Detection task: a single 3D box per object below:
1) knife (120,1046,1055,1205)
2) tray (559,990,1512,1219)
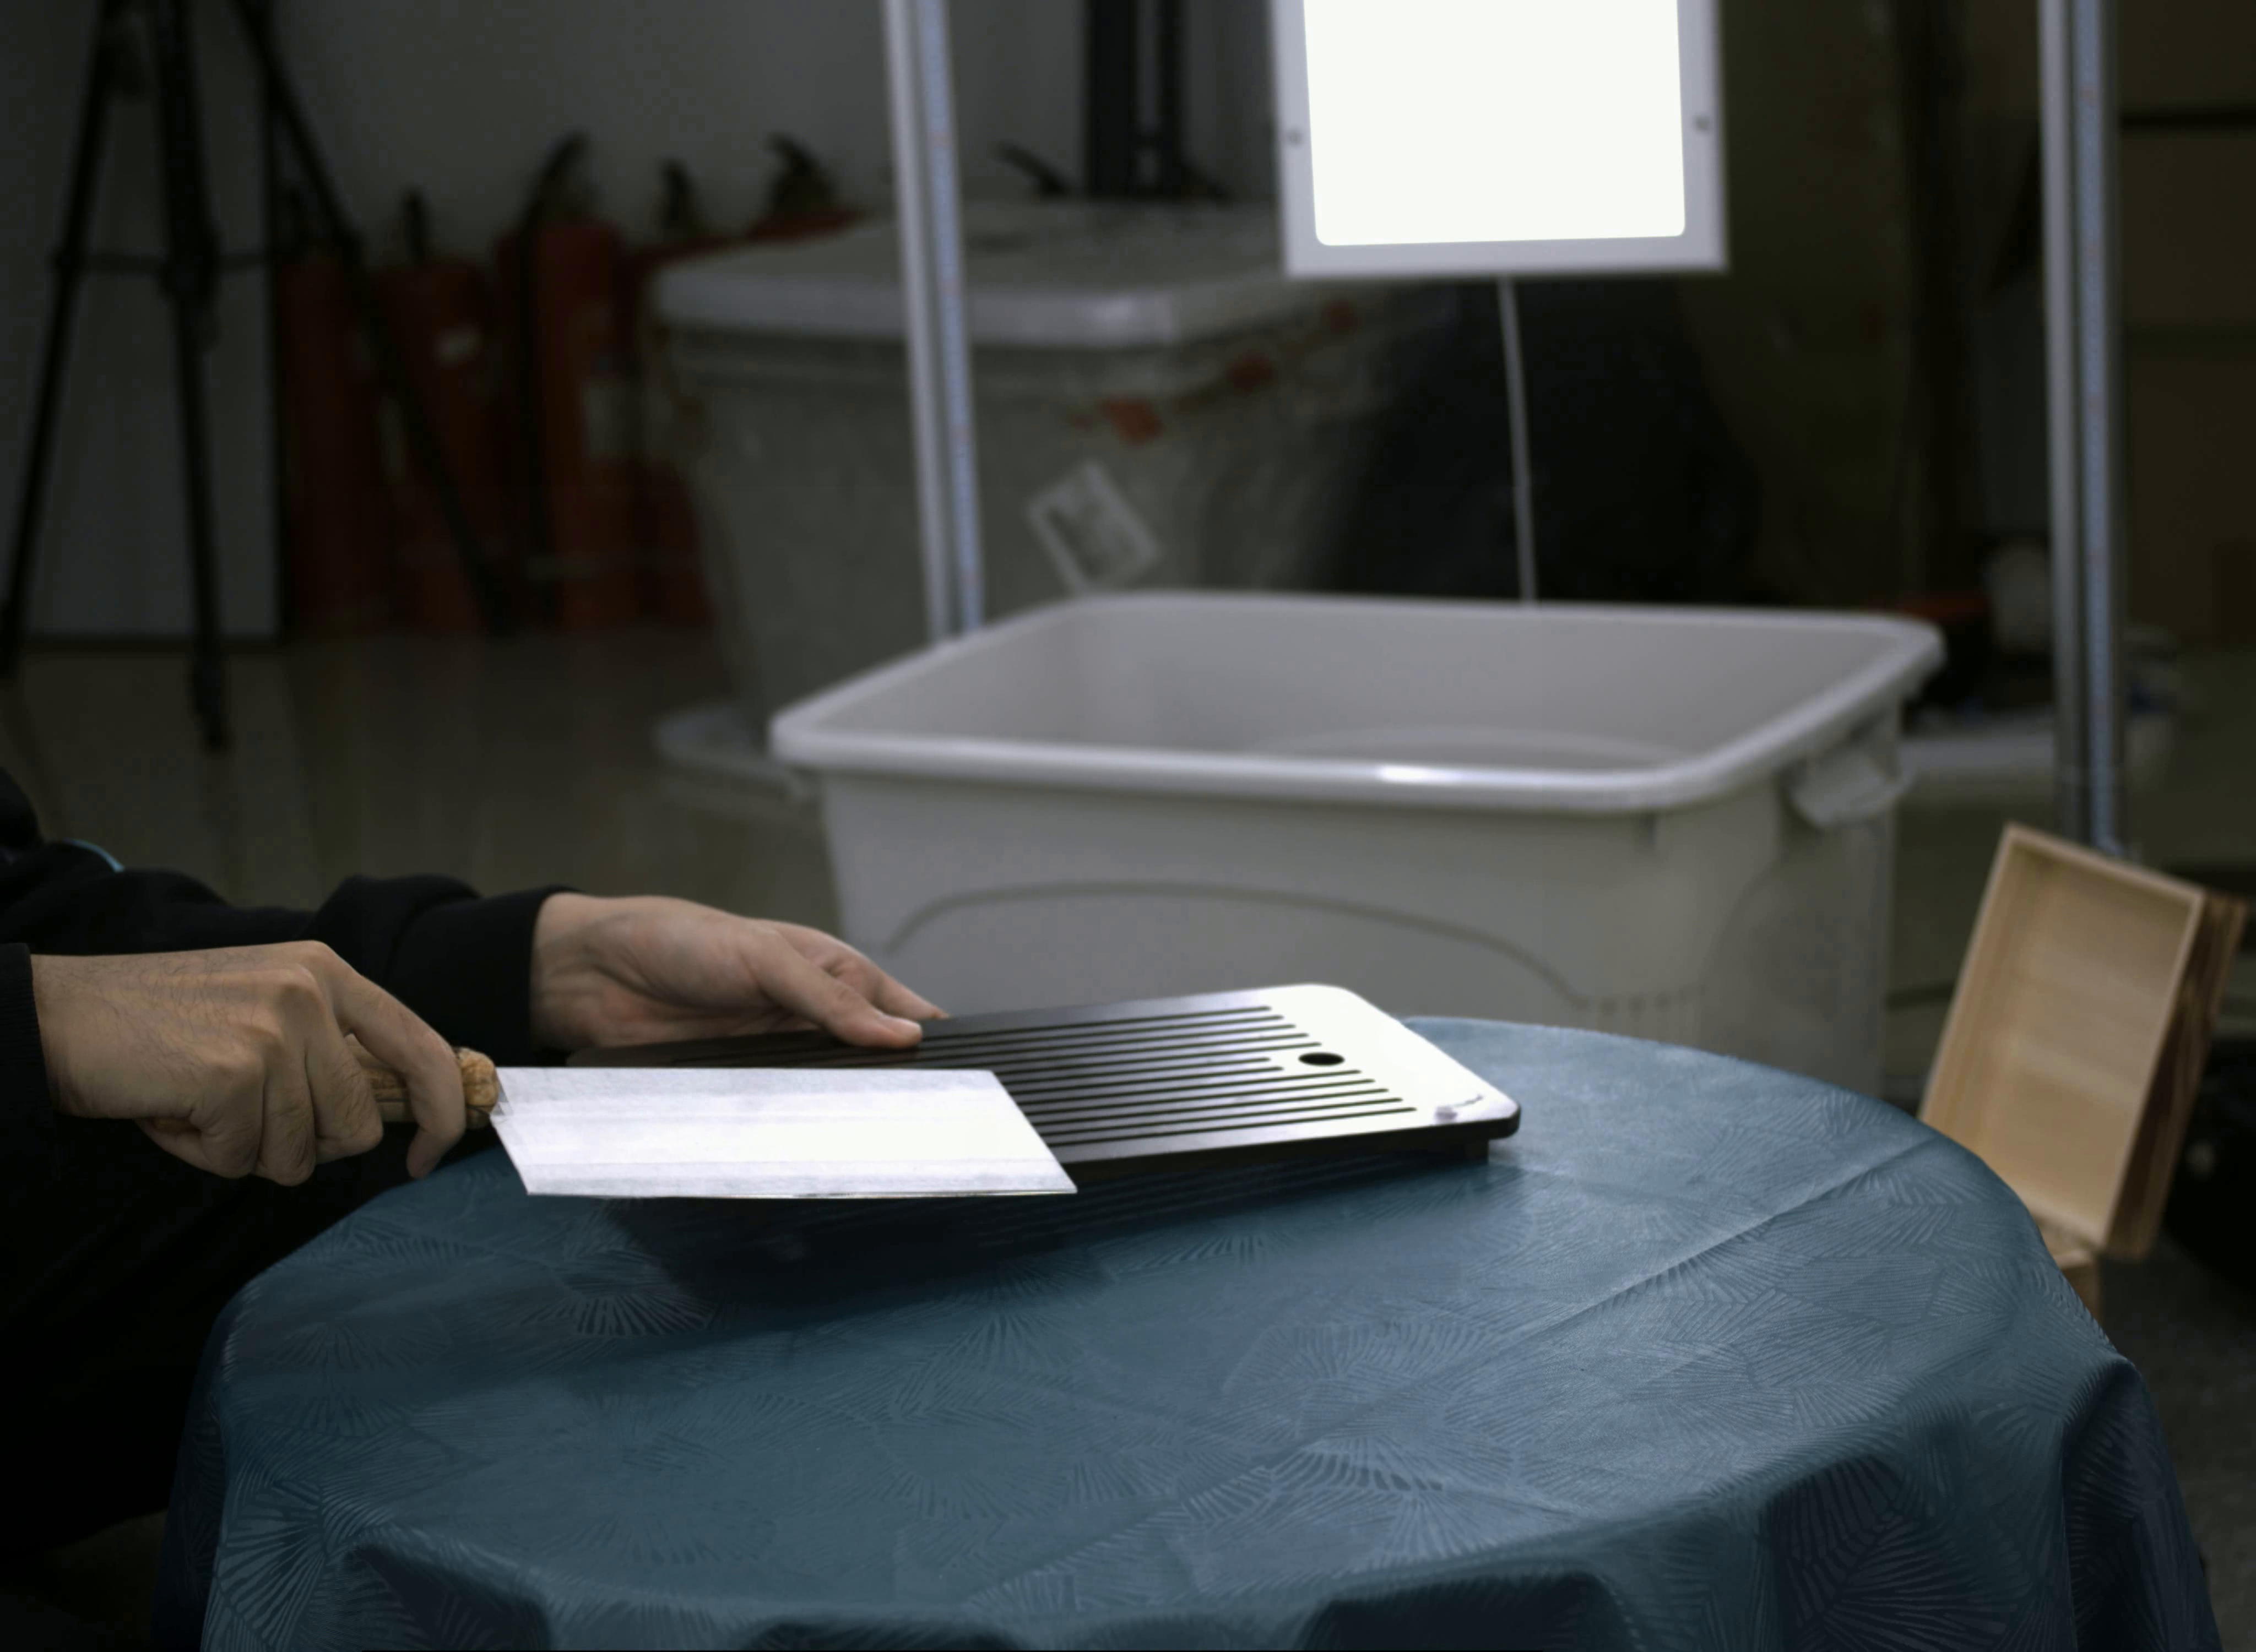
[{"bbox_3d":[-0.171,0.099,1.802,0.300,0.021,0.094,1,24,-20],"label":"knife"},{"bbox_3d":[-0.033,0.096,1.925,0.300,0.019,0.172,-4,15,-20],"label":"tray"}]
